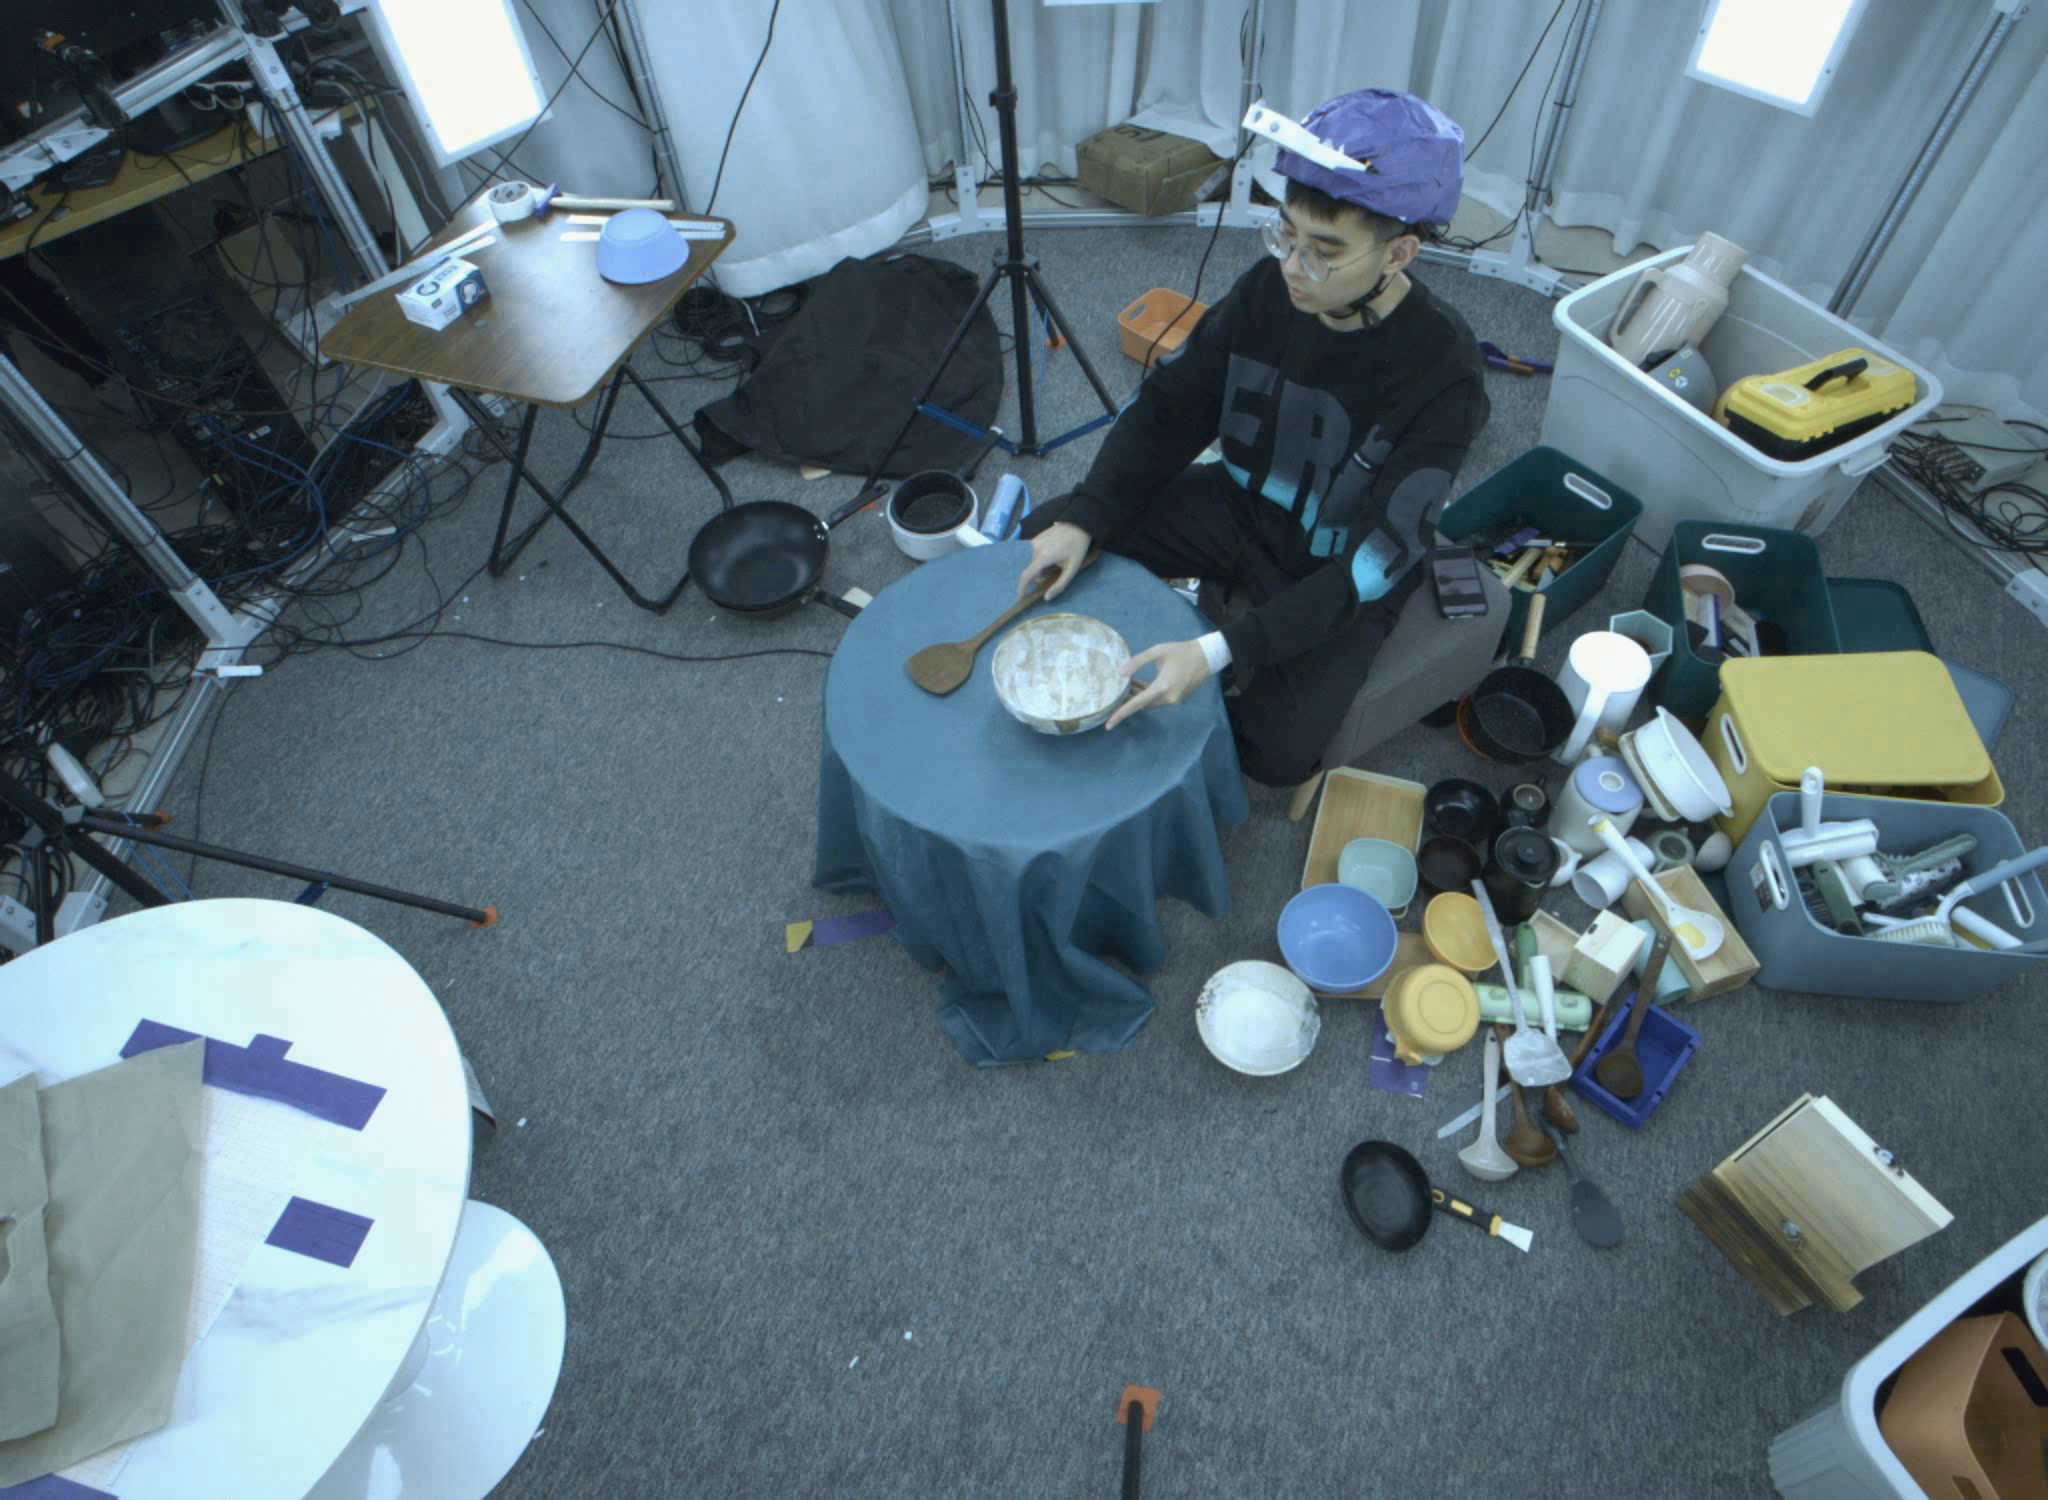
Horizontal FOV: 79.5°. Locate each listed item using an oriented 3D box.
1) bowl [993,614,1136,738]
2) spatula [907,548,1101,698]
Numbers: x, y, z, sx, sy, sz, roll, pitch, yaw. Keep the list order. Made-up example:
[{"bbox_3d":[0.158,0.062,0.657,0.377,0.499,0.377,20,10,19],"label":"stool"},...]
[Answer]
[{"bbox_3d":[0.061,-0.091,1.801,0.215,0.095,0.212,1,54,0],"label":"bowl"},{"bbox_3d":[-0.019,-0.211,1.932,0.388,0.016,0.094,-40,63,-20],"label":"spatula"}]
